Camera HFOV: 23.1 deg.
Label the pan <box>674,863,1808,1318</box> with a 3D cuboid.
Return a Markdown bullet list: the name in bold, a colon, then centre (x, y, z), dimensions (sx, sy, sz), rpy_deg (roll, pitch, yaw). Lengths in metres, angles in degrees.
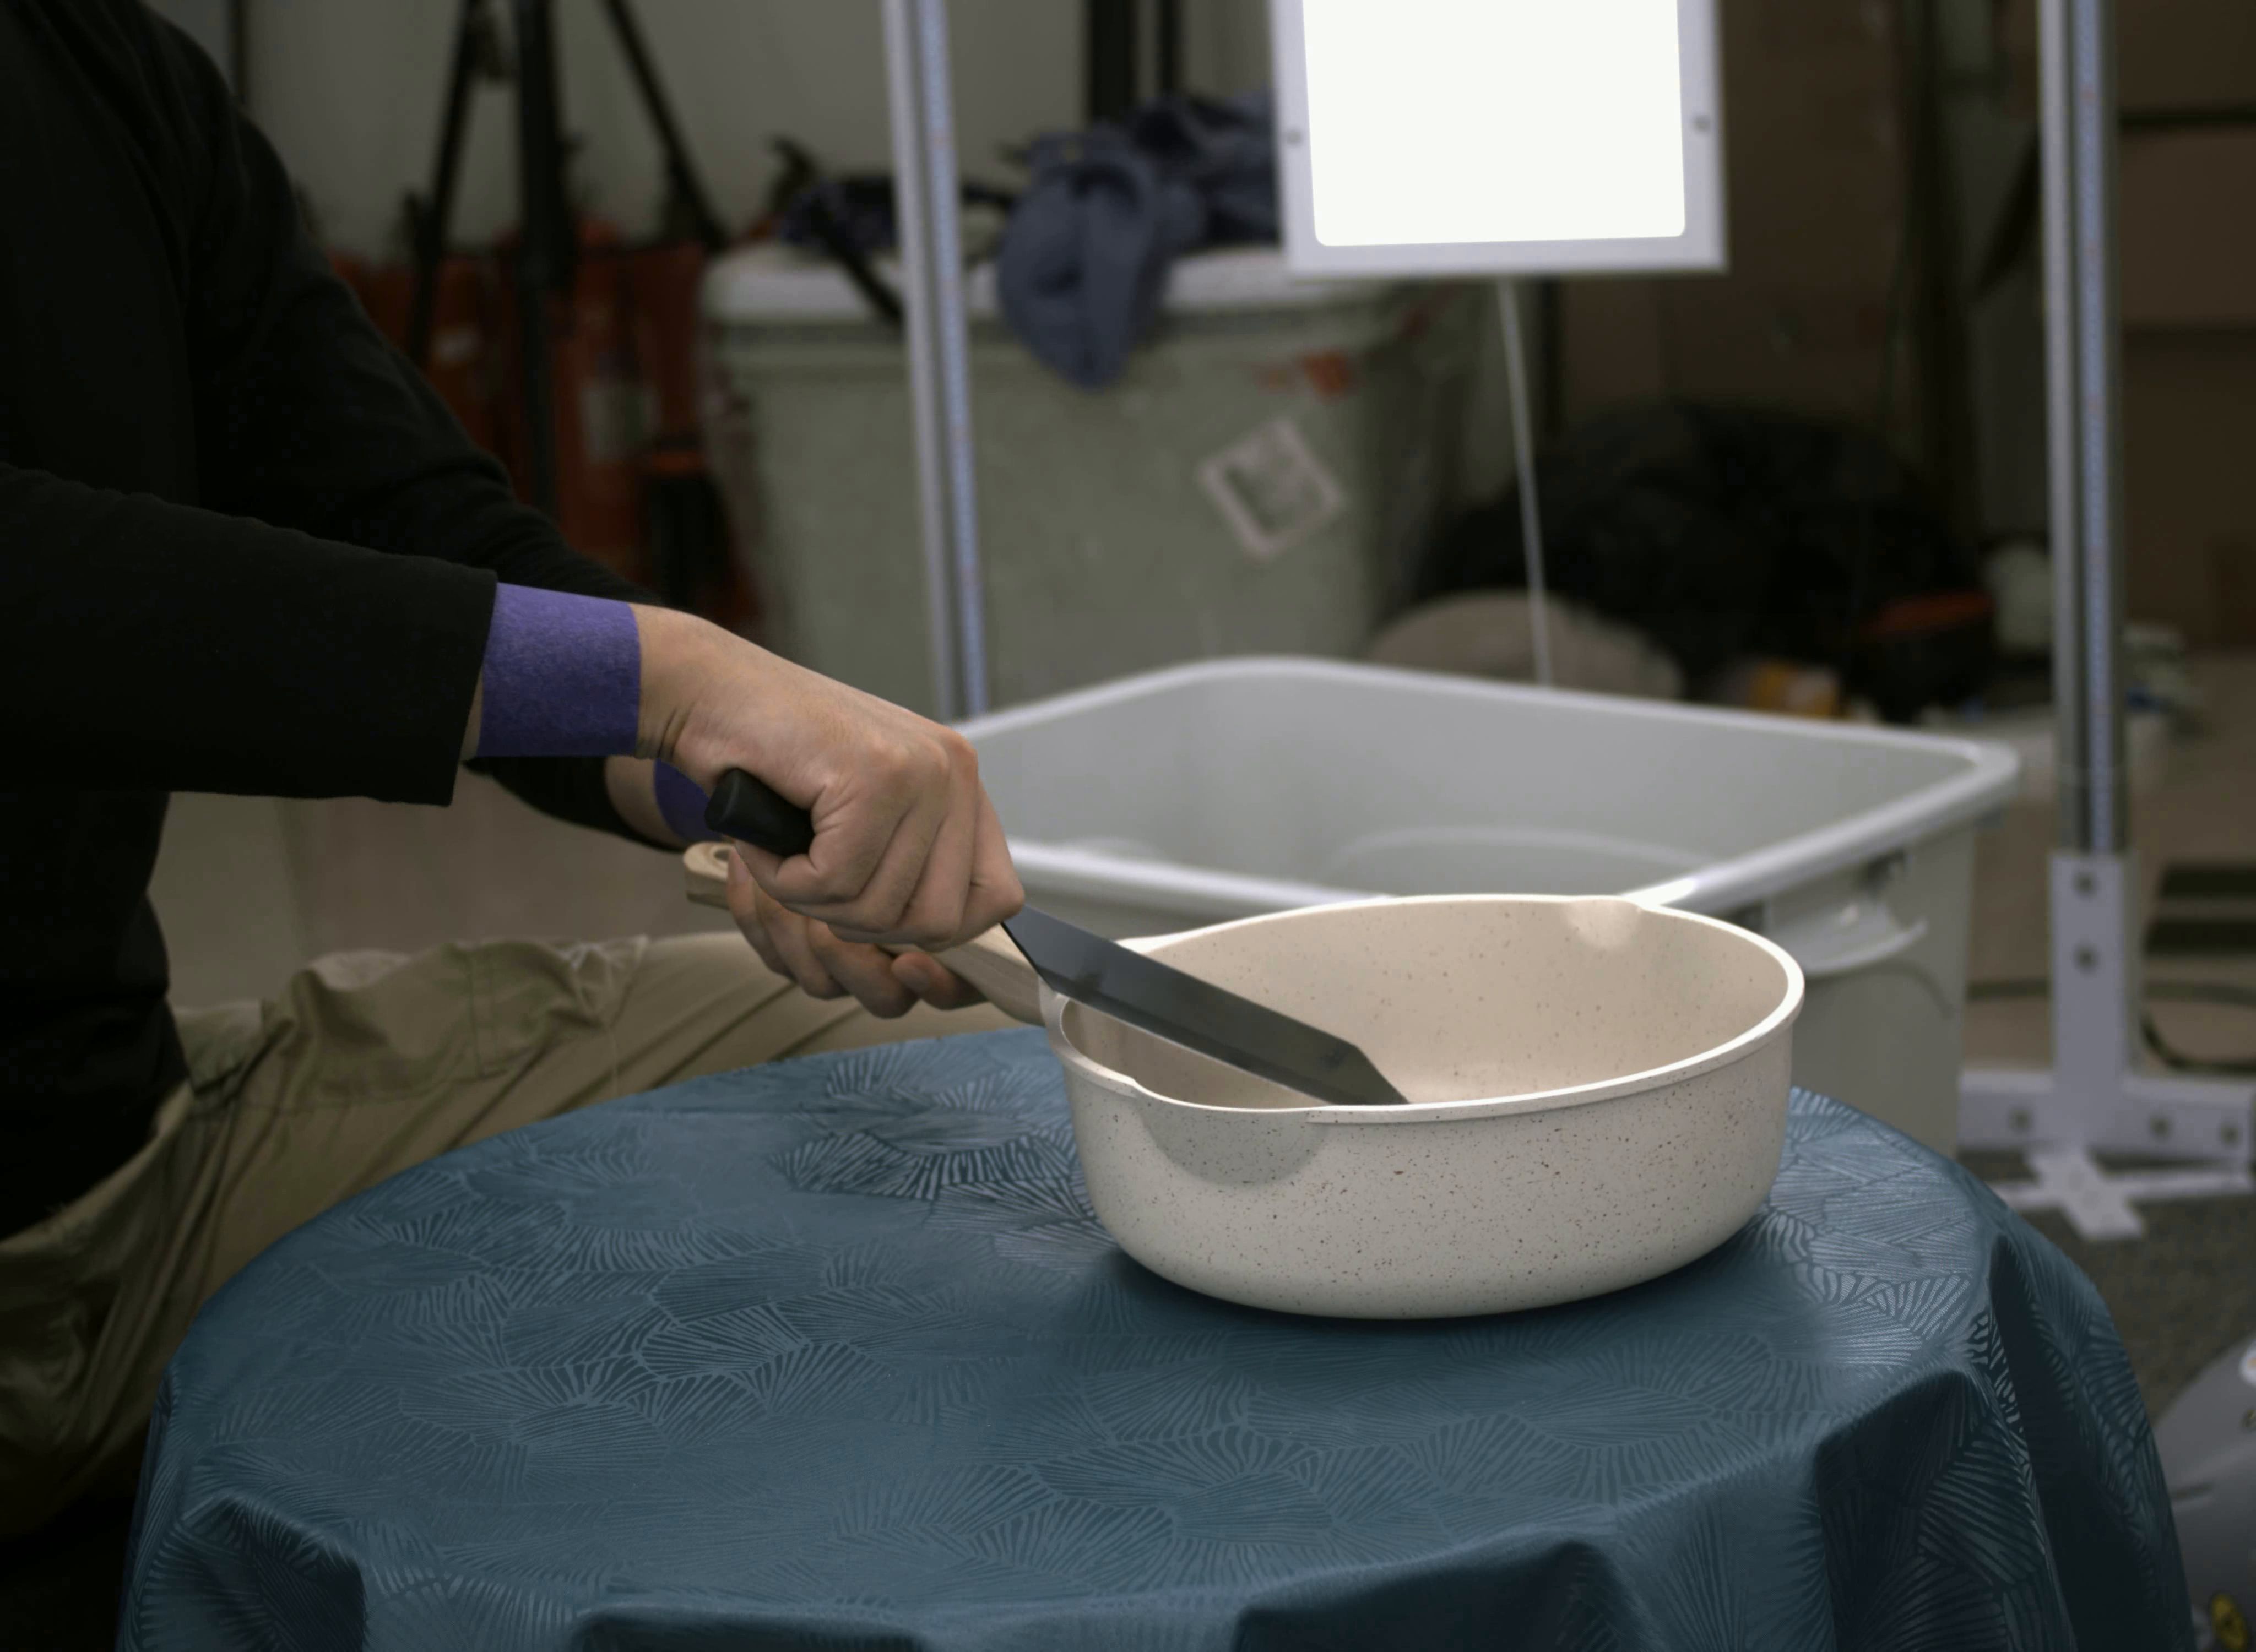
- **pan**: centre (0.026, 0.078, 1.876), dimensions (0.444, 0.102, 0.257), rpy_deg (5, 19, 35)

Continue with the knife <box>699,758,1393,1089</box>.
- **knife**: centre (-0.018, 0.042, 1.811), dimensions (0.296, 0.021, 0.082), rpy_deg (25, 16, -31)
